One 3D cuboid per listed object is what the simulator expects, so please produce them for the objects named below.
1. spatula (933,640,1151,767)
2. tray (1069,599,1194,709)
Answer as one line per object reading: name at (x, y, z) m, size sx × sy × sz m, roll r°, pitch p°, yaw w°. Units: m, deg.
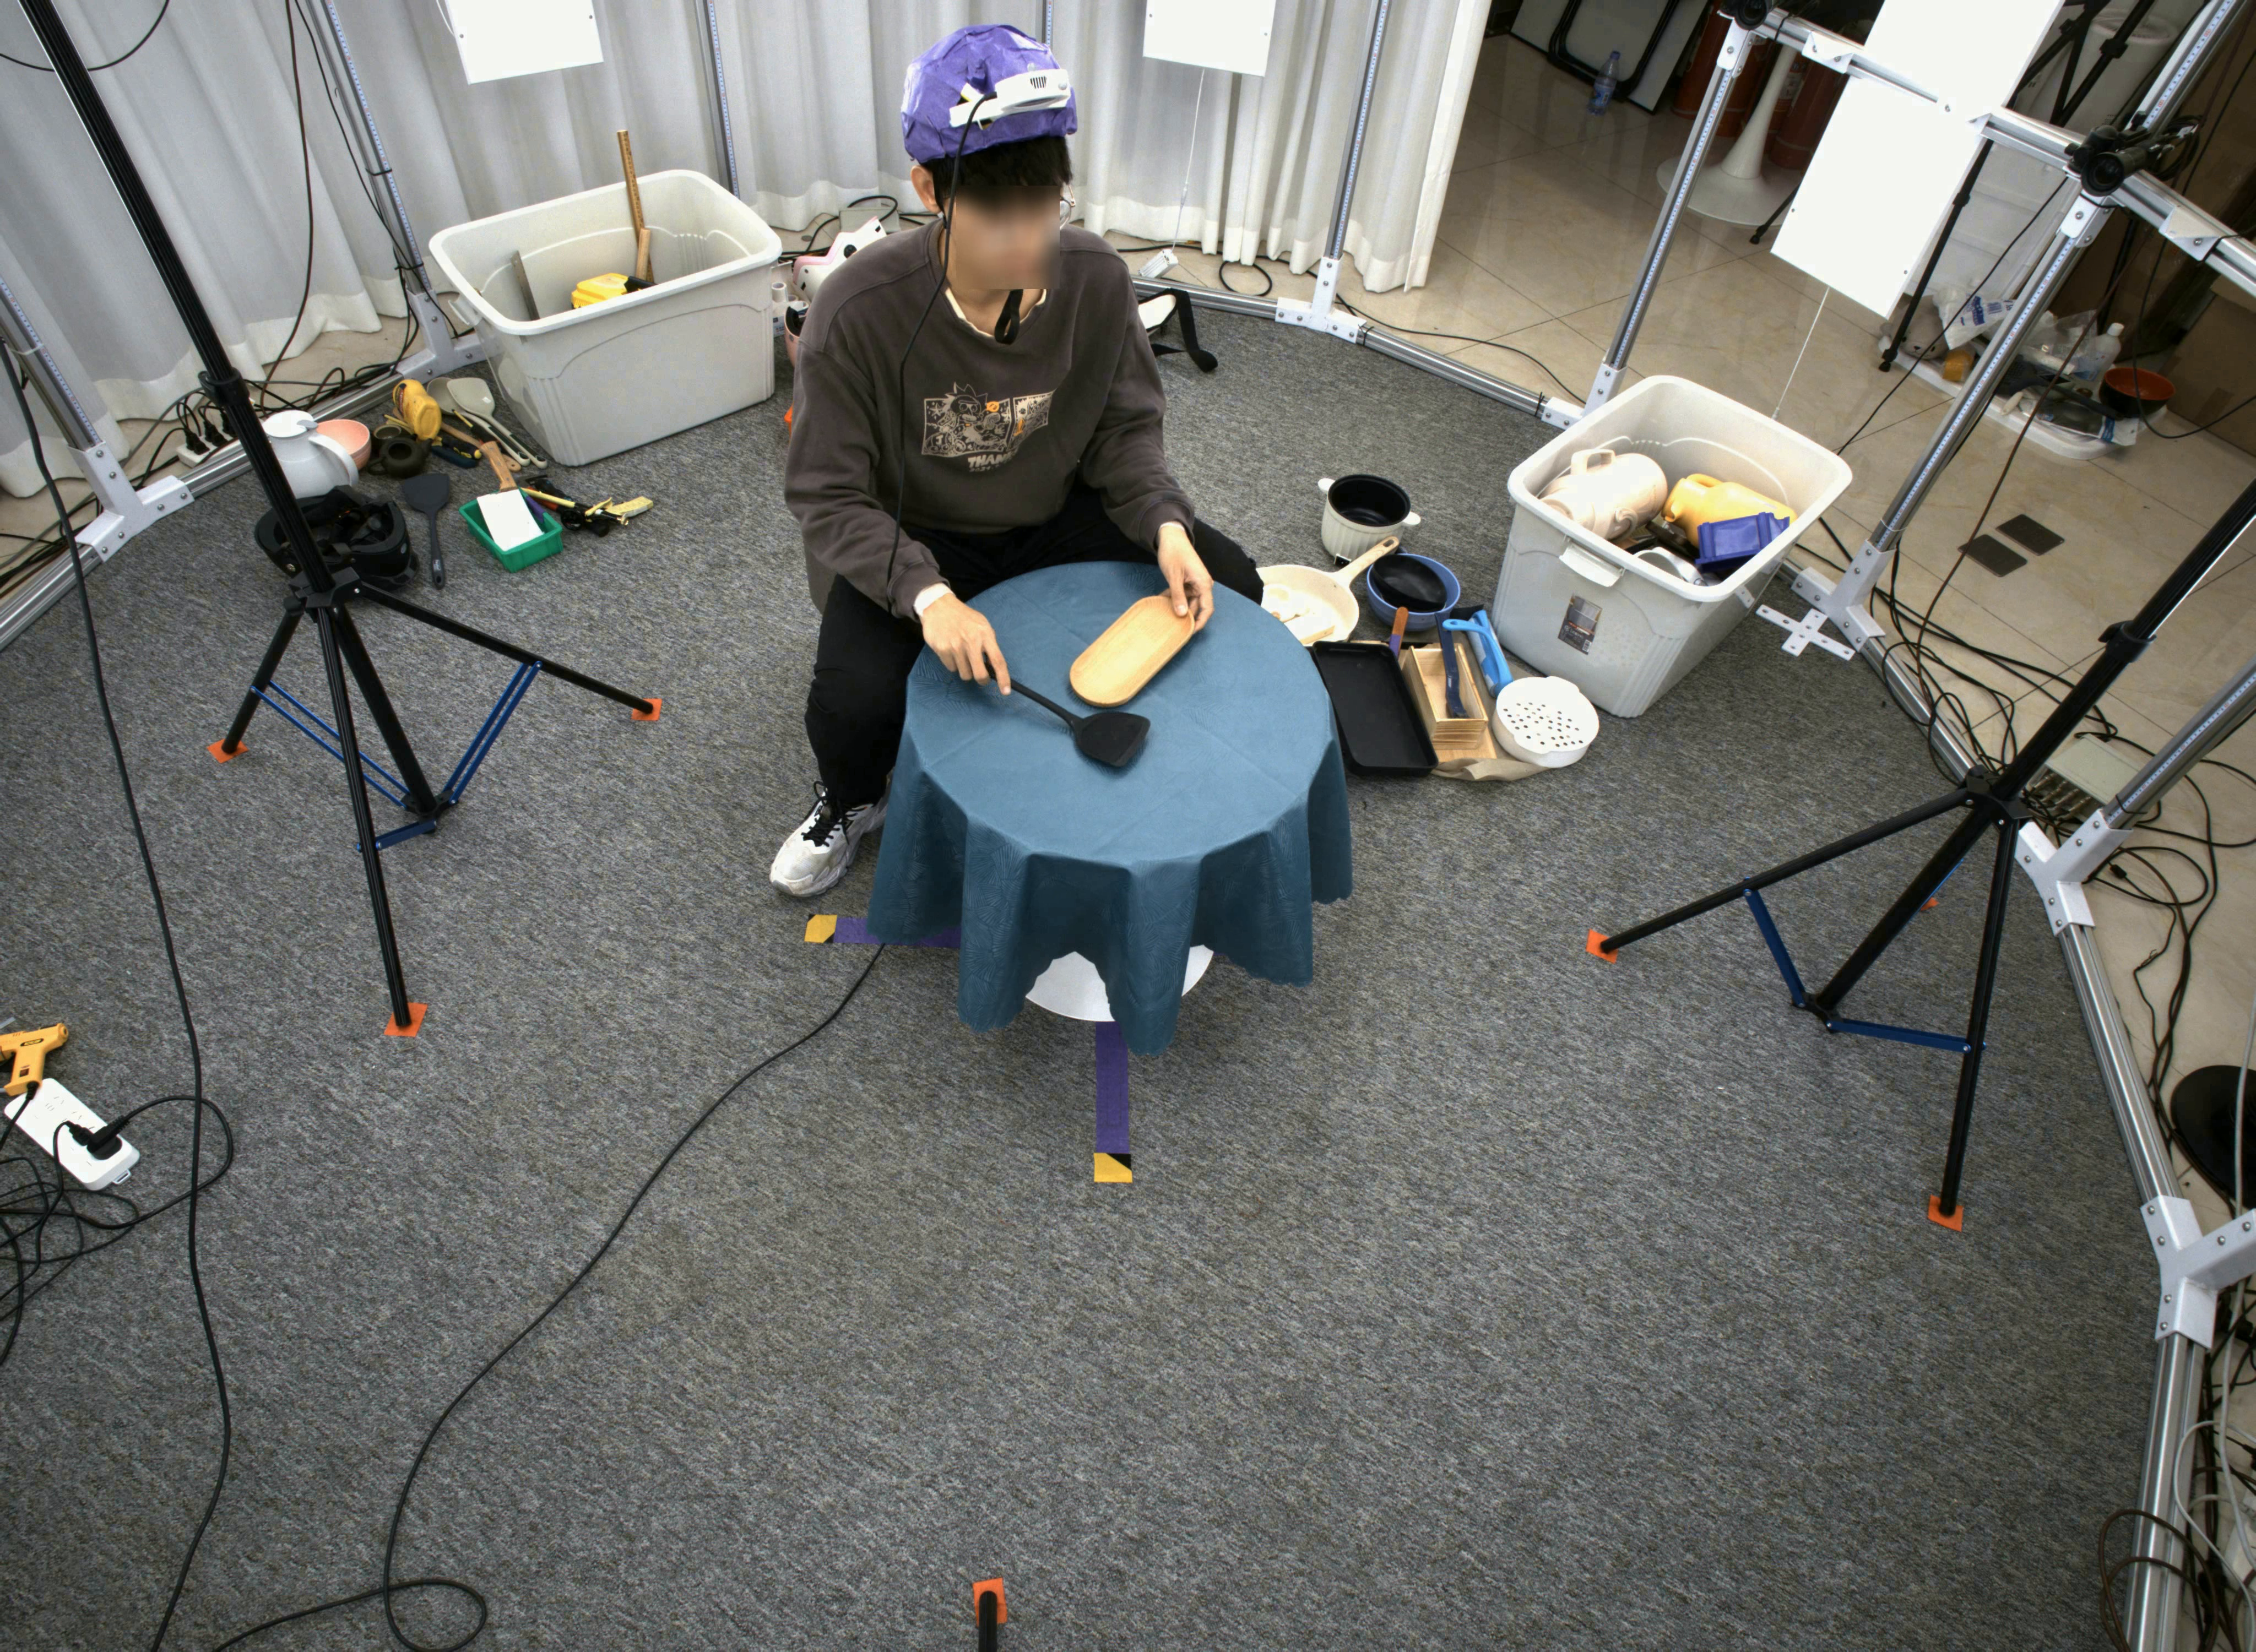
spatula at (-0.127, -0.182, 1.770) m, size 0.327 × 0.039 × 0.101 m, roll 31°, pitch 54°, yaw 6°
tray at (0.007, -0.251, 1.862) m, size 0.103 × 0.020 × 0.234 m, roll 31°, pitch 61°, yaw 22°
